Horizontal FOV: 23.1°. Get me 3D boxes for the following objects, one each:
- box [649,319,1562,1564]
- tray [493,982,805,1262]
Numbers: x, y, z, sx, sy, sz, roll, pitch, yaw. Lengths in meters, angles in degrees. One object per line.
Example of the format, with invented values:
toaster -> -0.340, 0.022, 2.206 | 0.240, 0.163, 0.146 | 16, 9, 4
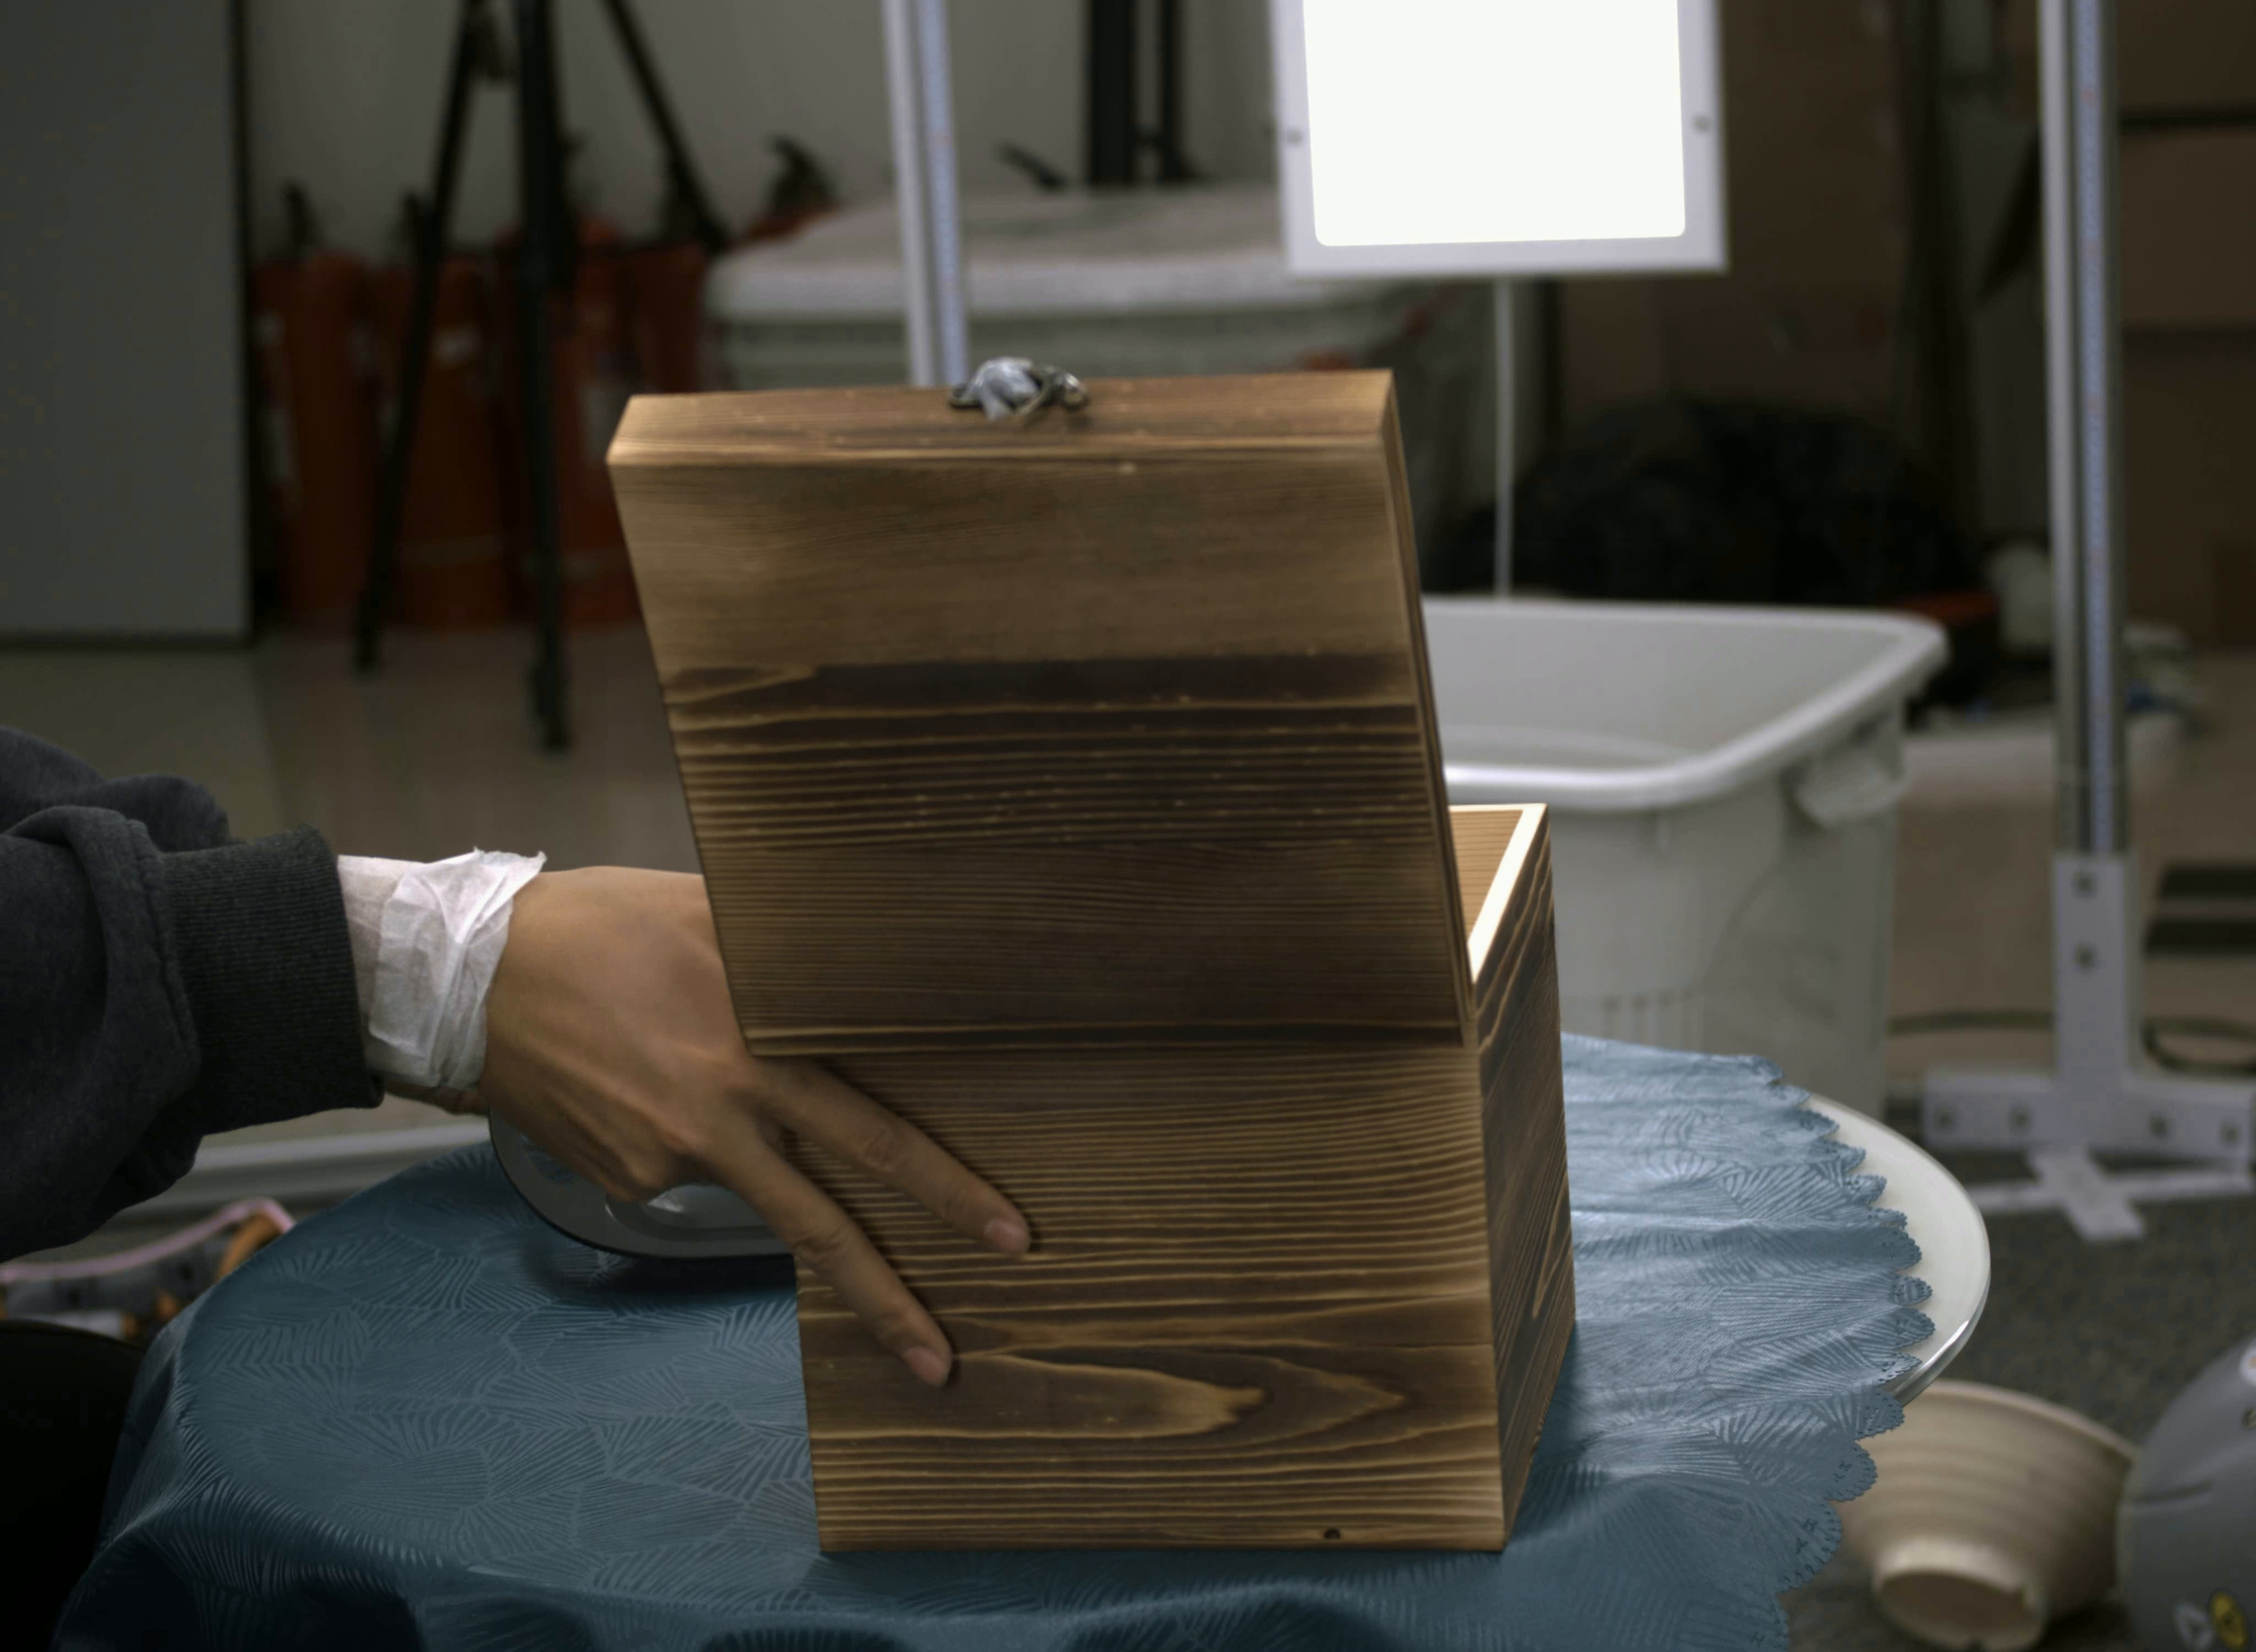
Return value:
box -> 0.007, 0.021, 1.568 | 0.210, 0.377, 0.318 | -1, 15, 11
tray -> -0.058, 0.096, 1.919 | 0.323, 0.010, 0.211 | -3, 24, -5
